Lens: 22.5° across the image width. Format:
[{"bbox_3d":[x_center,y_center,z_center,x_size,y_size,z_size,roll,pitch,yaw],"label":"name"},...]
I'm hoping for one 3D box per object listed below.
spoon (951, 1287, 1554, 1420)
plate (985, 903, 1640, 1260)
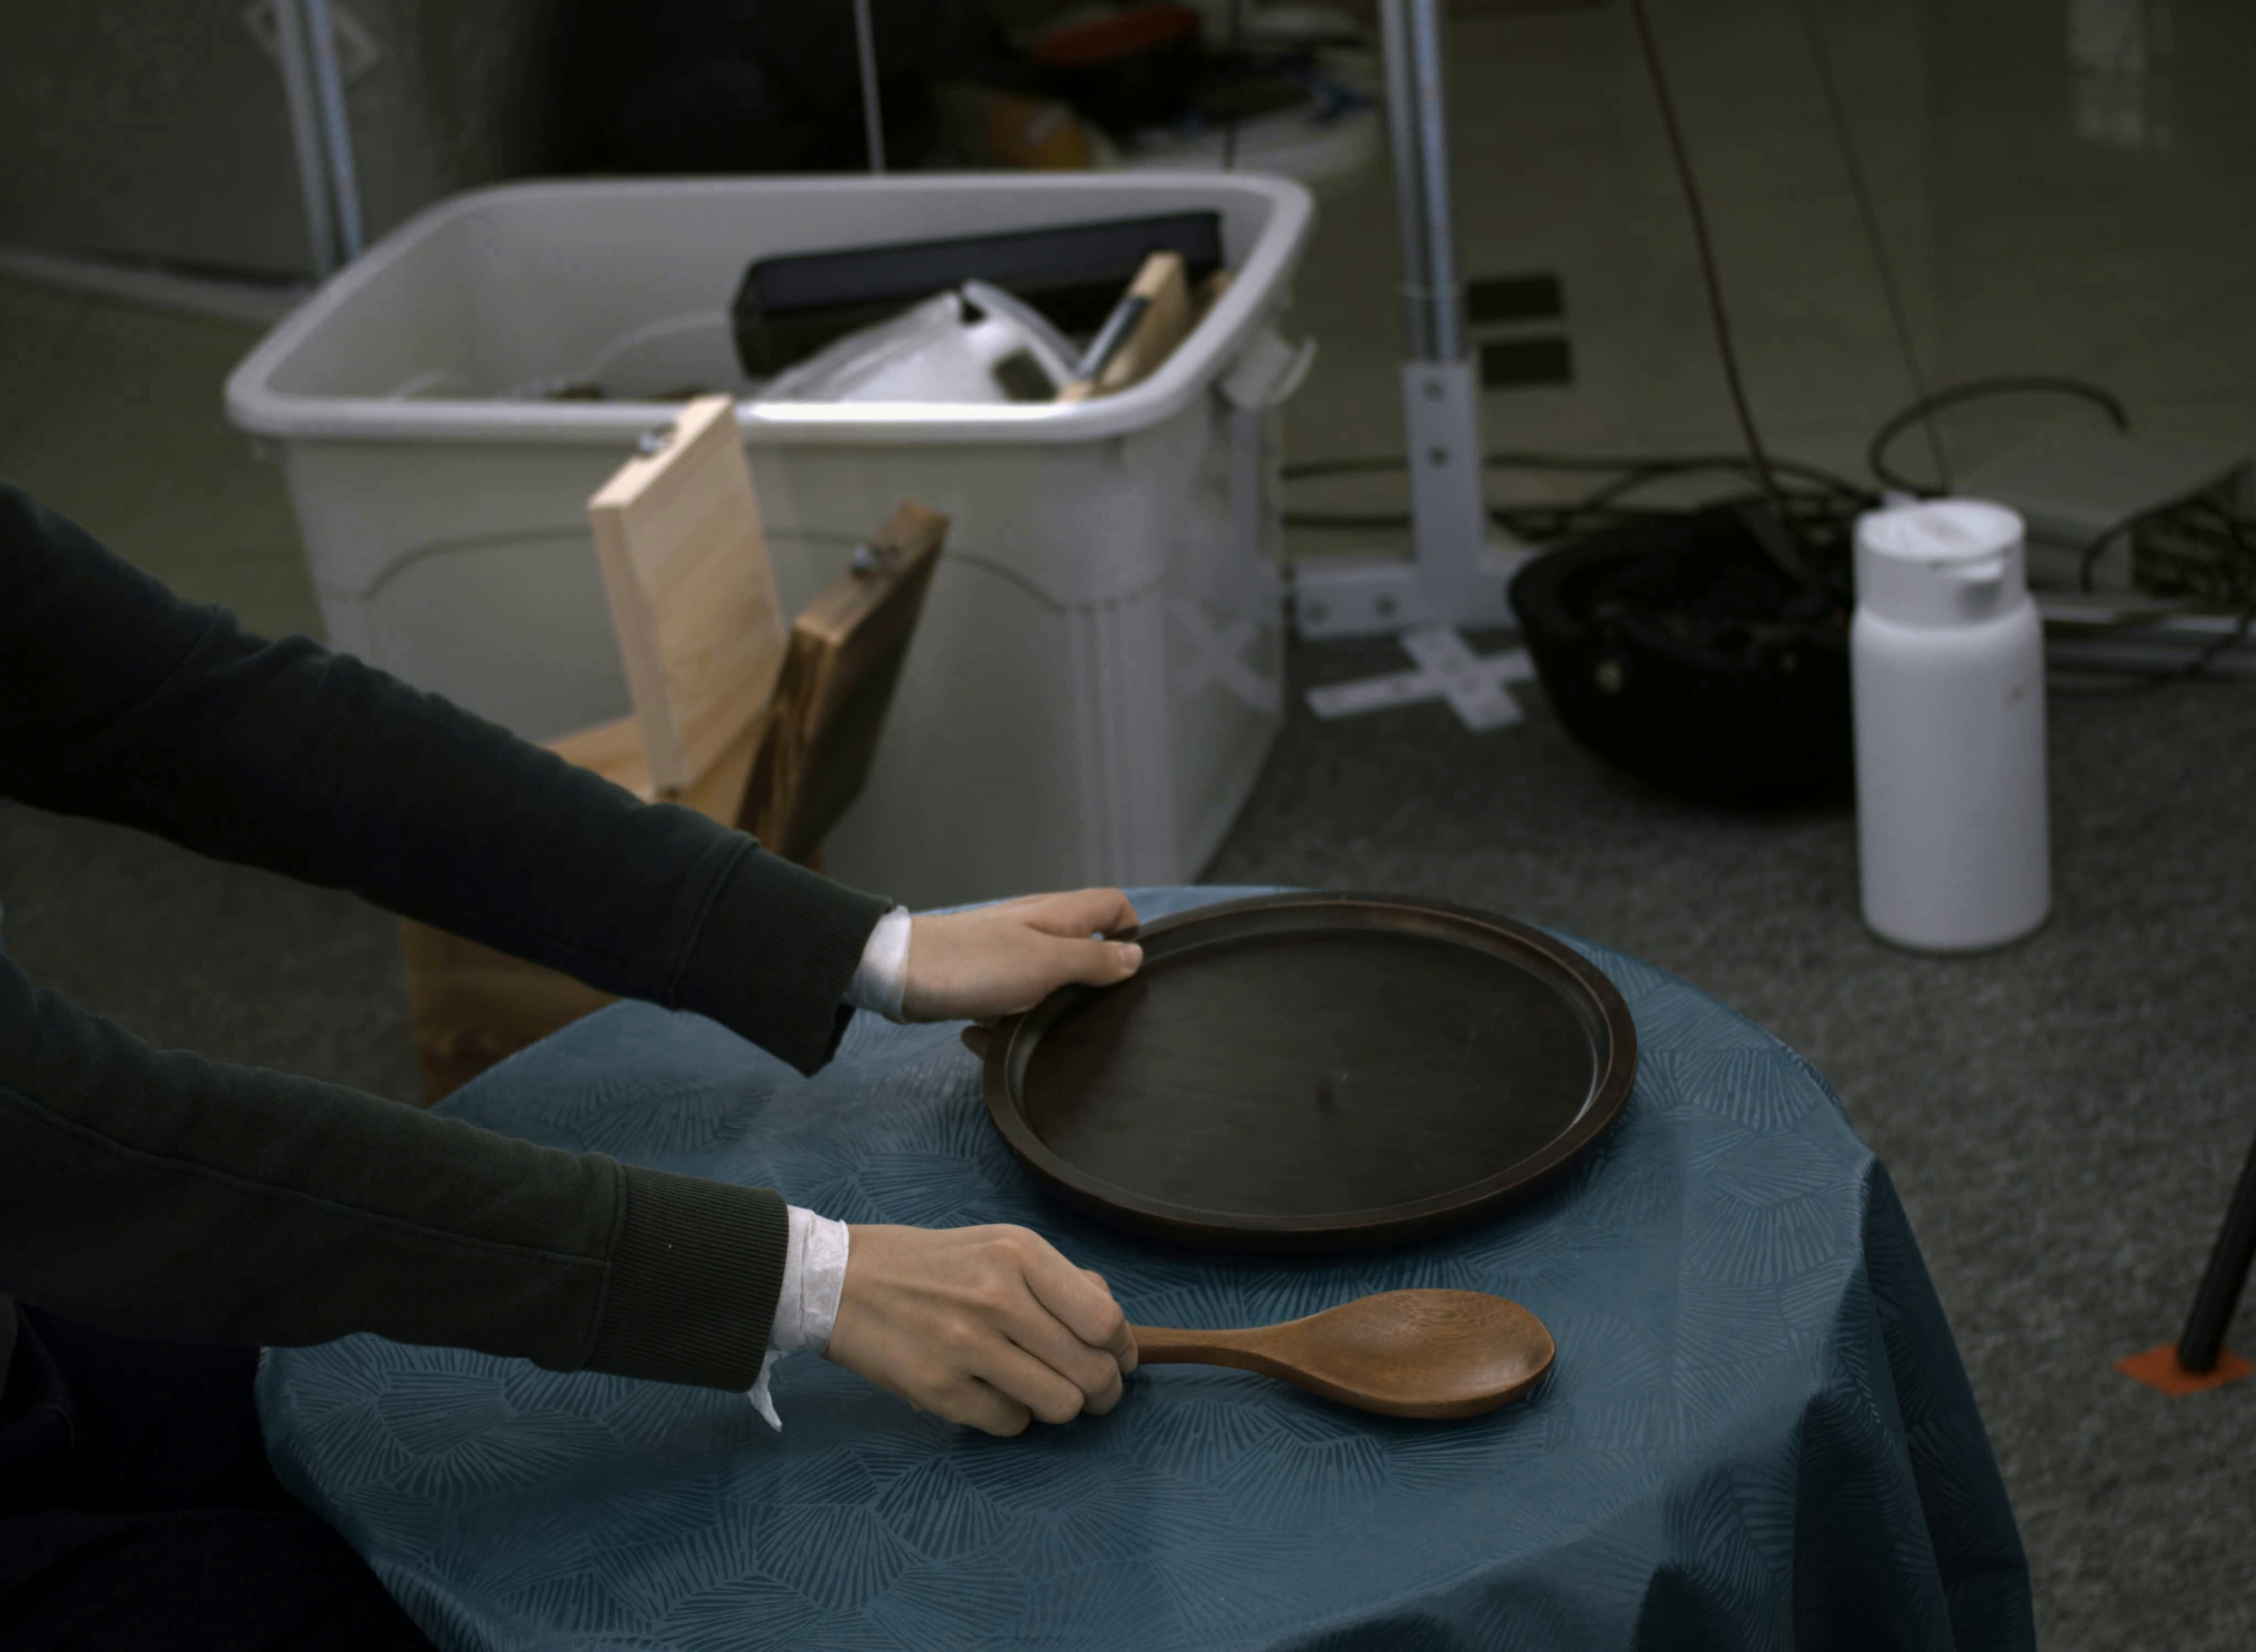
[{"bbox_3d":[0.043,0.186,2.011,0.215,0.017,0.074,2,29,10],"label":"spoon"},{"bbox_3d":[0.070,0.096,2.181,0.254,0.029,0.251,-2,28,1],"label":"plate"}]
